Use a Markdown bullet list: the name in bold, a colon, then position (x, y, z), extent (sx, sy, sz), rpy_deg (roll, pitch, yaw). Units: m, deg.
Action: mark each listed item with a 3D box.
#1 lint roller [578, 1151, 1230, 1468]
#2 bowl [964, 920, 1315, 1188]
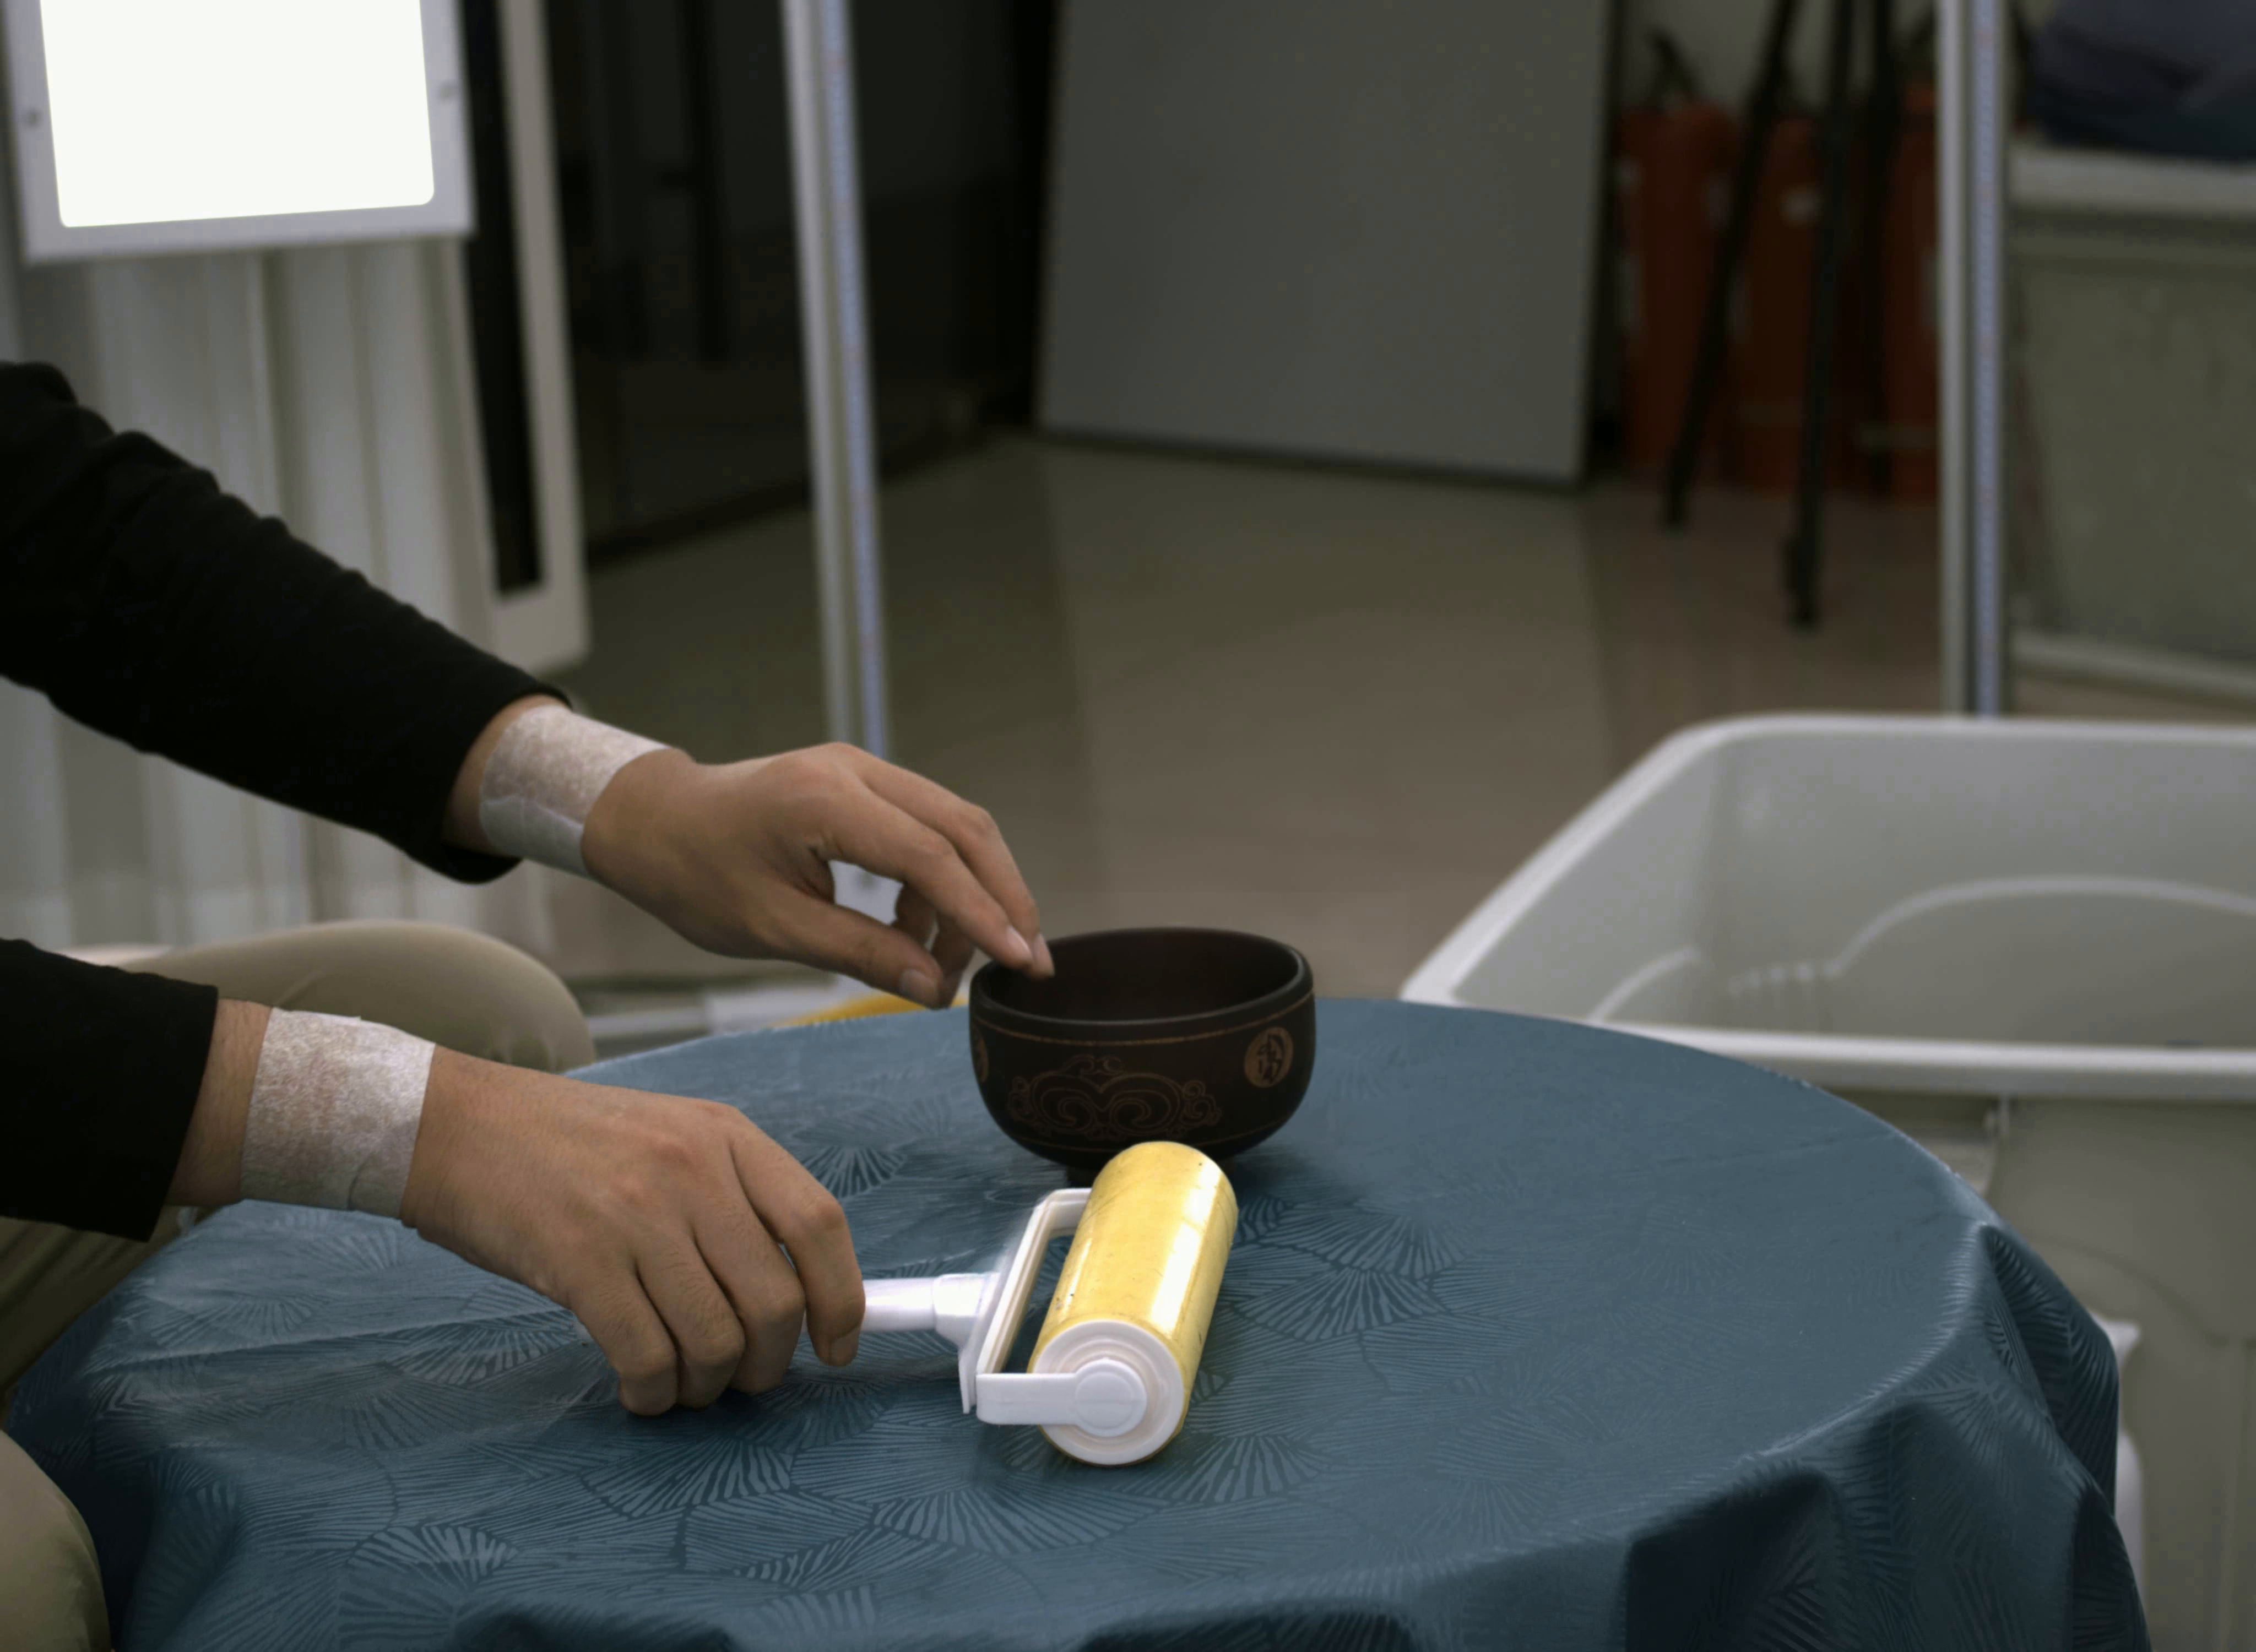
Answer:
- **lint roller**: position (-0.068, 0.136, 1.601), extent (0.190, 0.052, 0.174), rpy_deg (6, 14, 4)
- **bowl**: position (0.004, 0.079, 1.782), extent (0.116, 0.070, 0.118), rpy_deg (-3, 13, 0)
